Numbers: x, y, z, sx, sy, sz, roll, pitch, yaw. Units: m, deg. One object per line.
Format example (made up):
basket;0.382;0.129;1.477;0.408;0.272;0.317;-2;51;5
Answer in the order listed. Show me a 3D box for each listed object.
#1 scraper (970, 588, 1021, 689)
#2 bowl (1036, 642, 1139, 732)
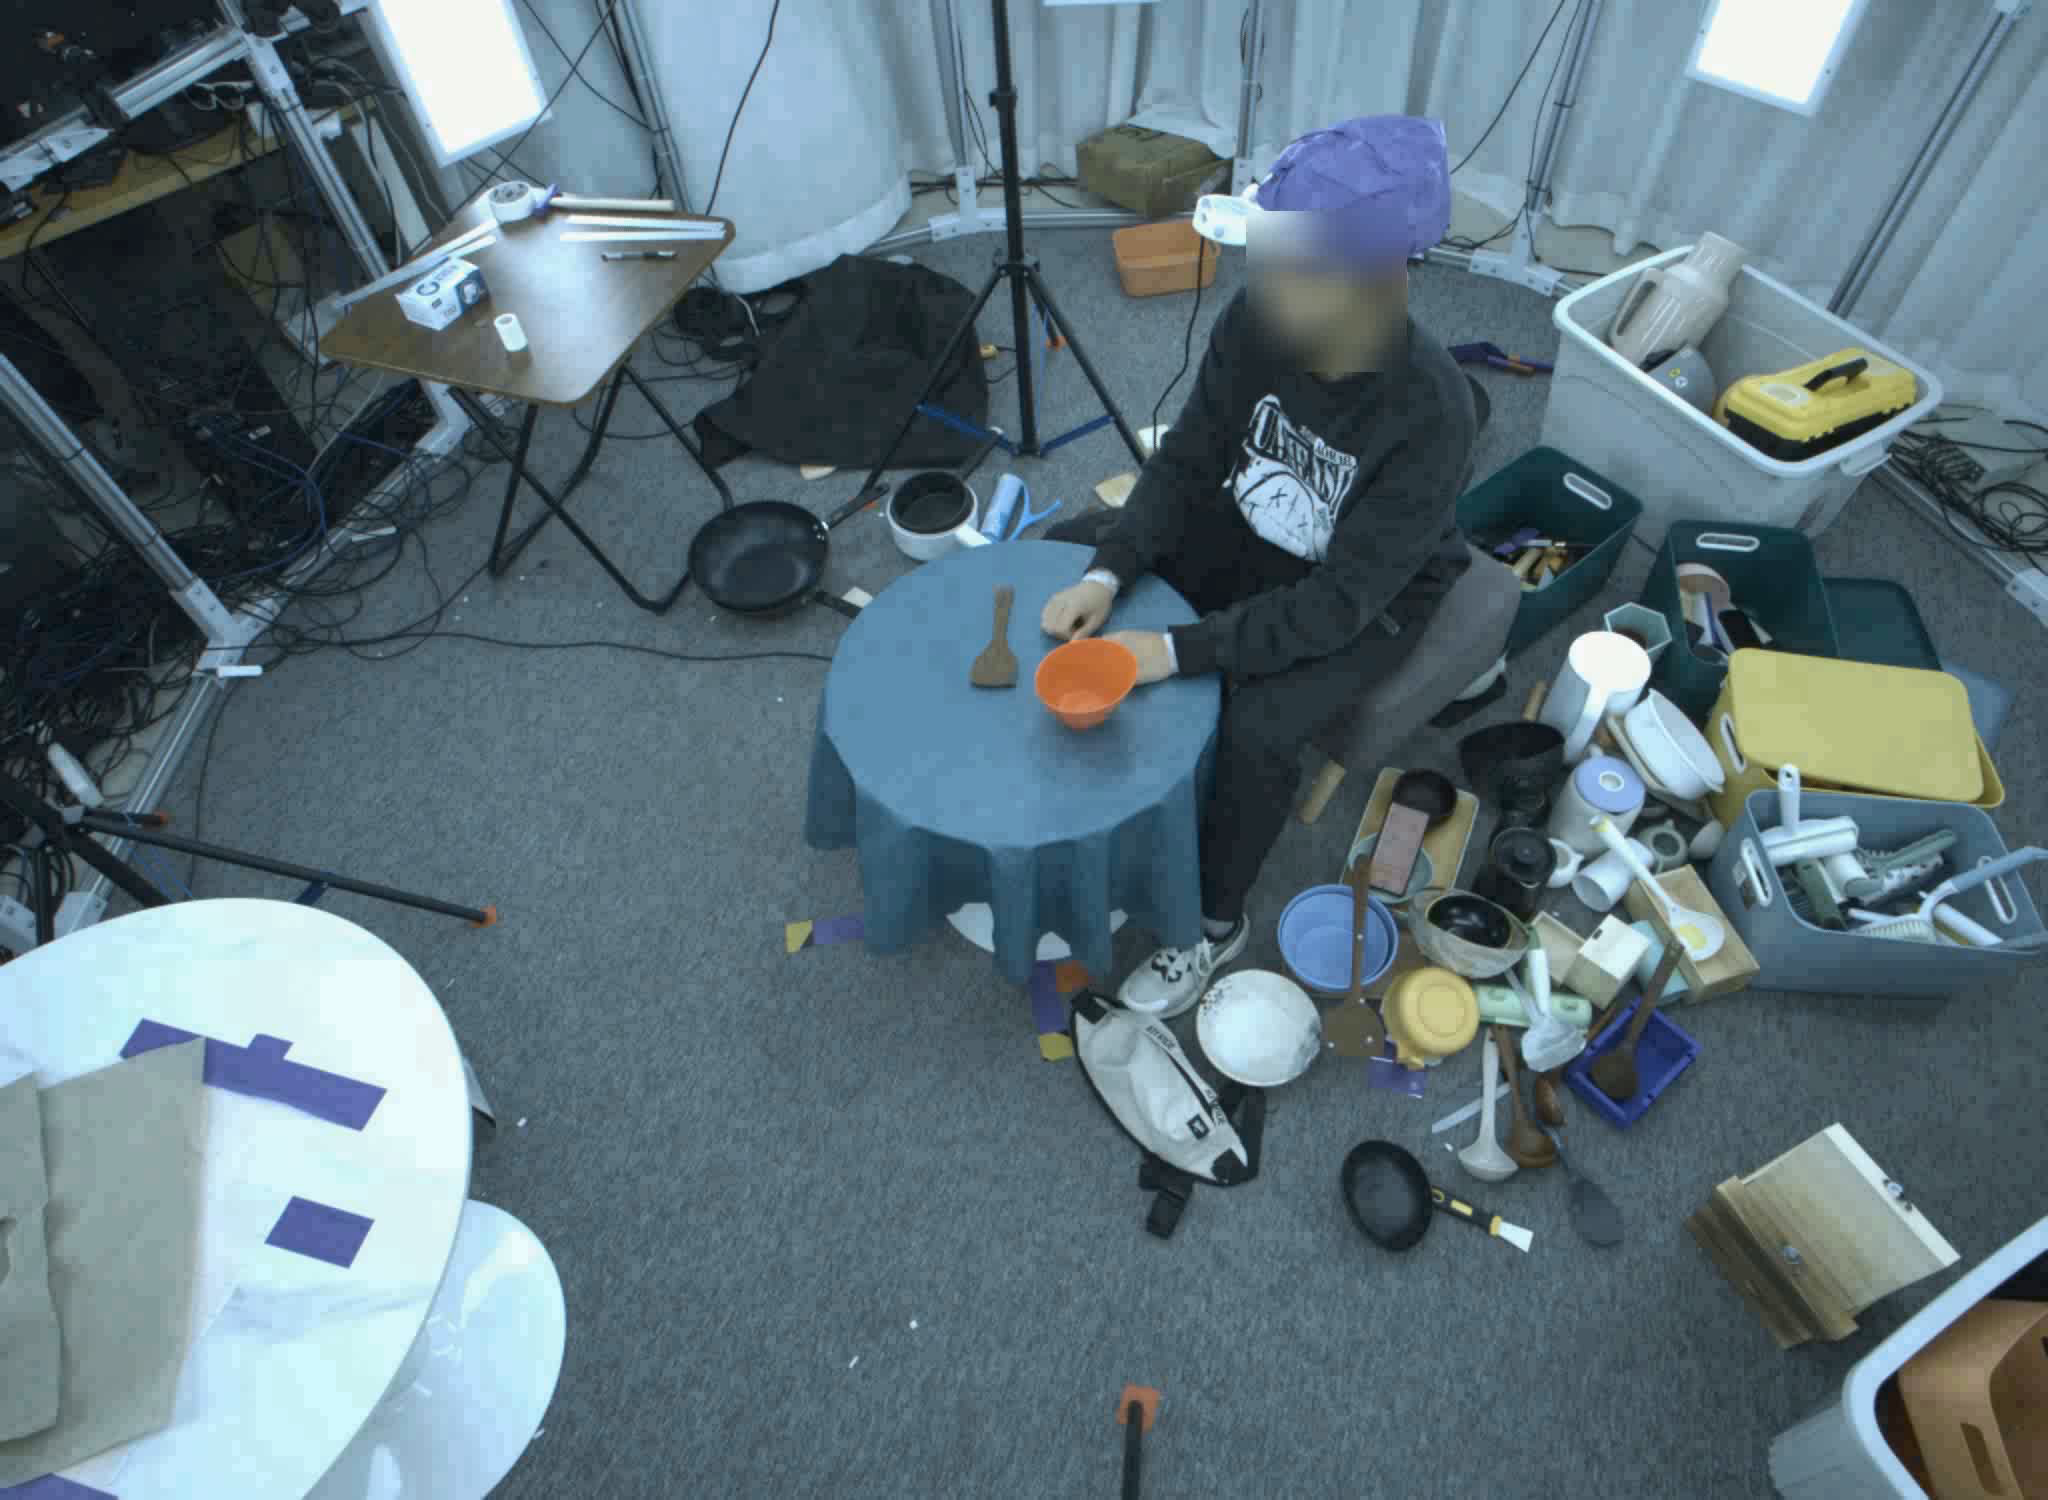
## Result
scraper;-0.037;-0.176;1.918;0.076;0.011;0.209;3;54;3
bowl;0.092;-0.077;1.788;0.148;0.106;0.146;-1;55;2
